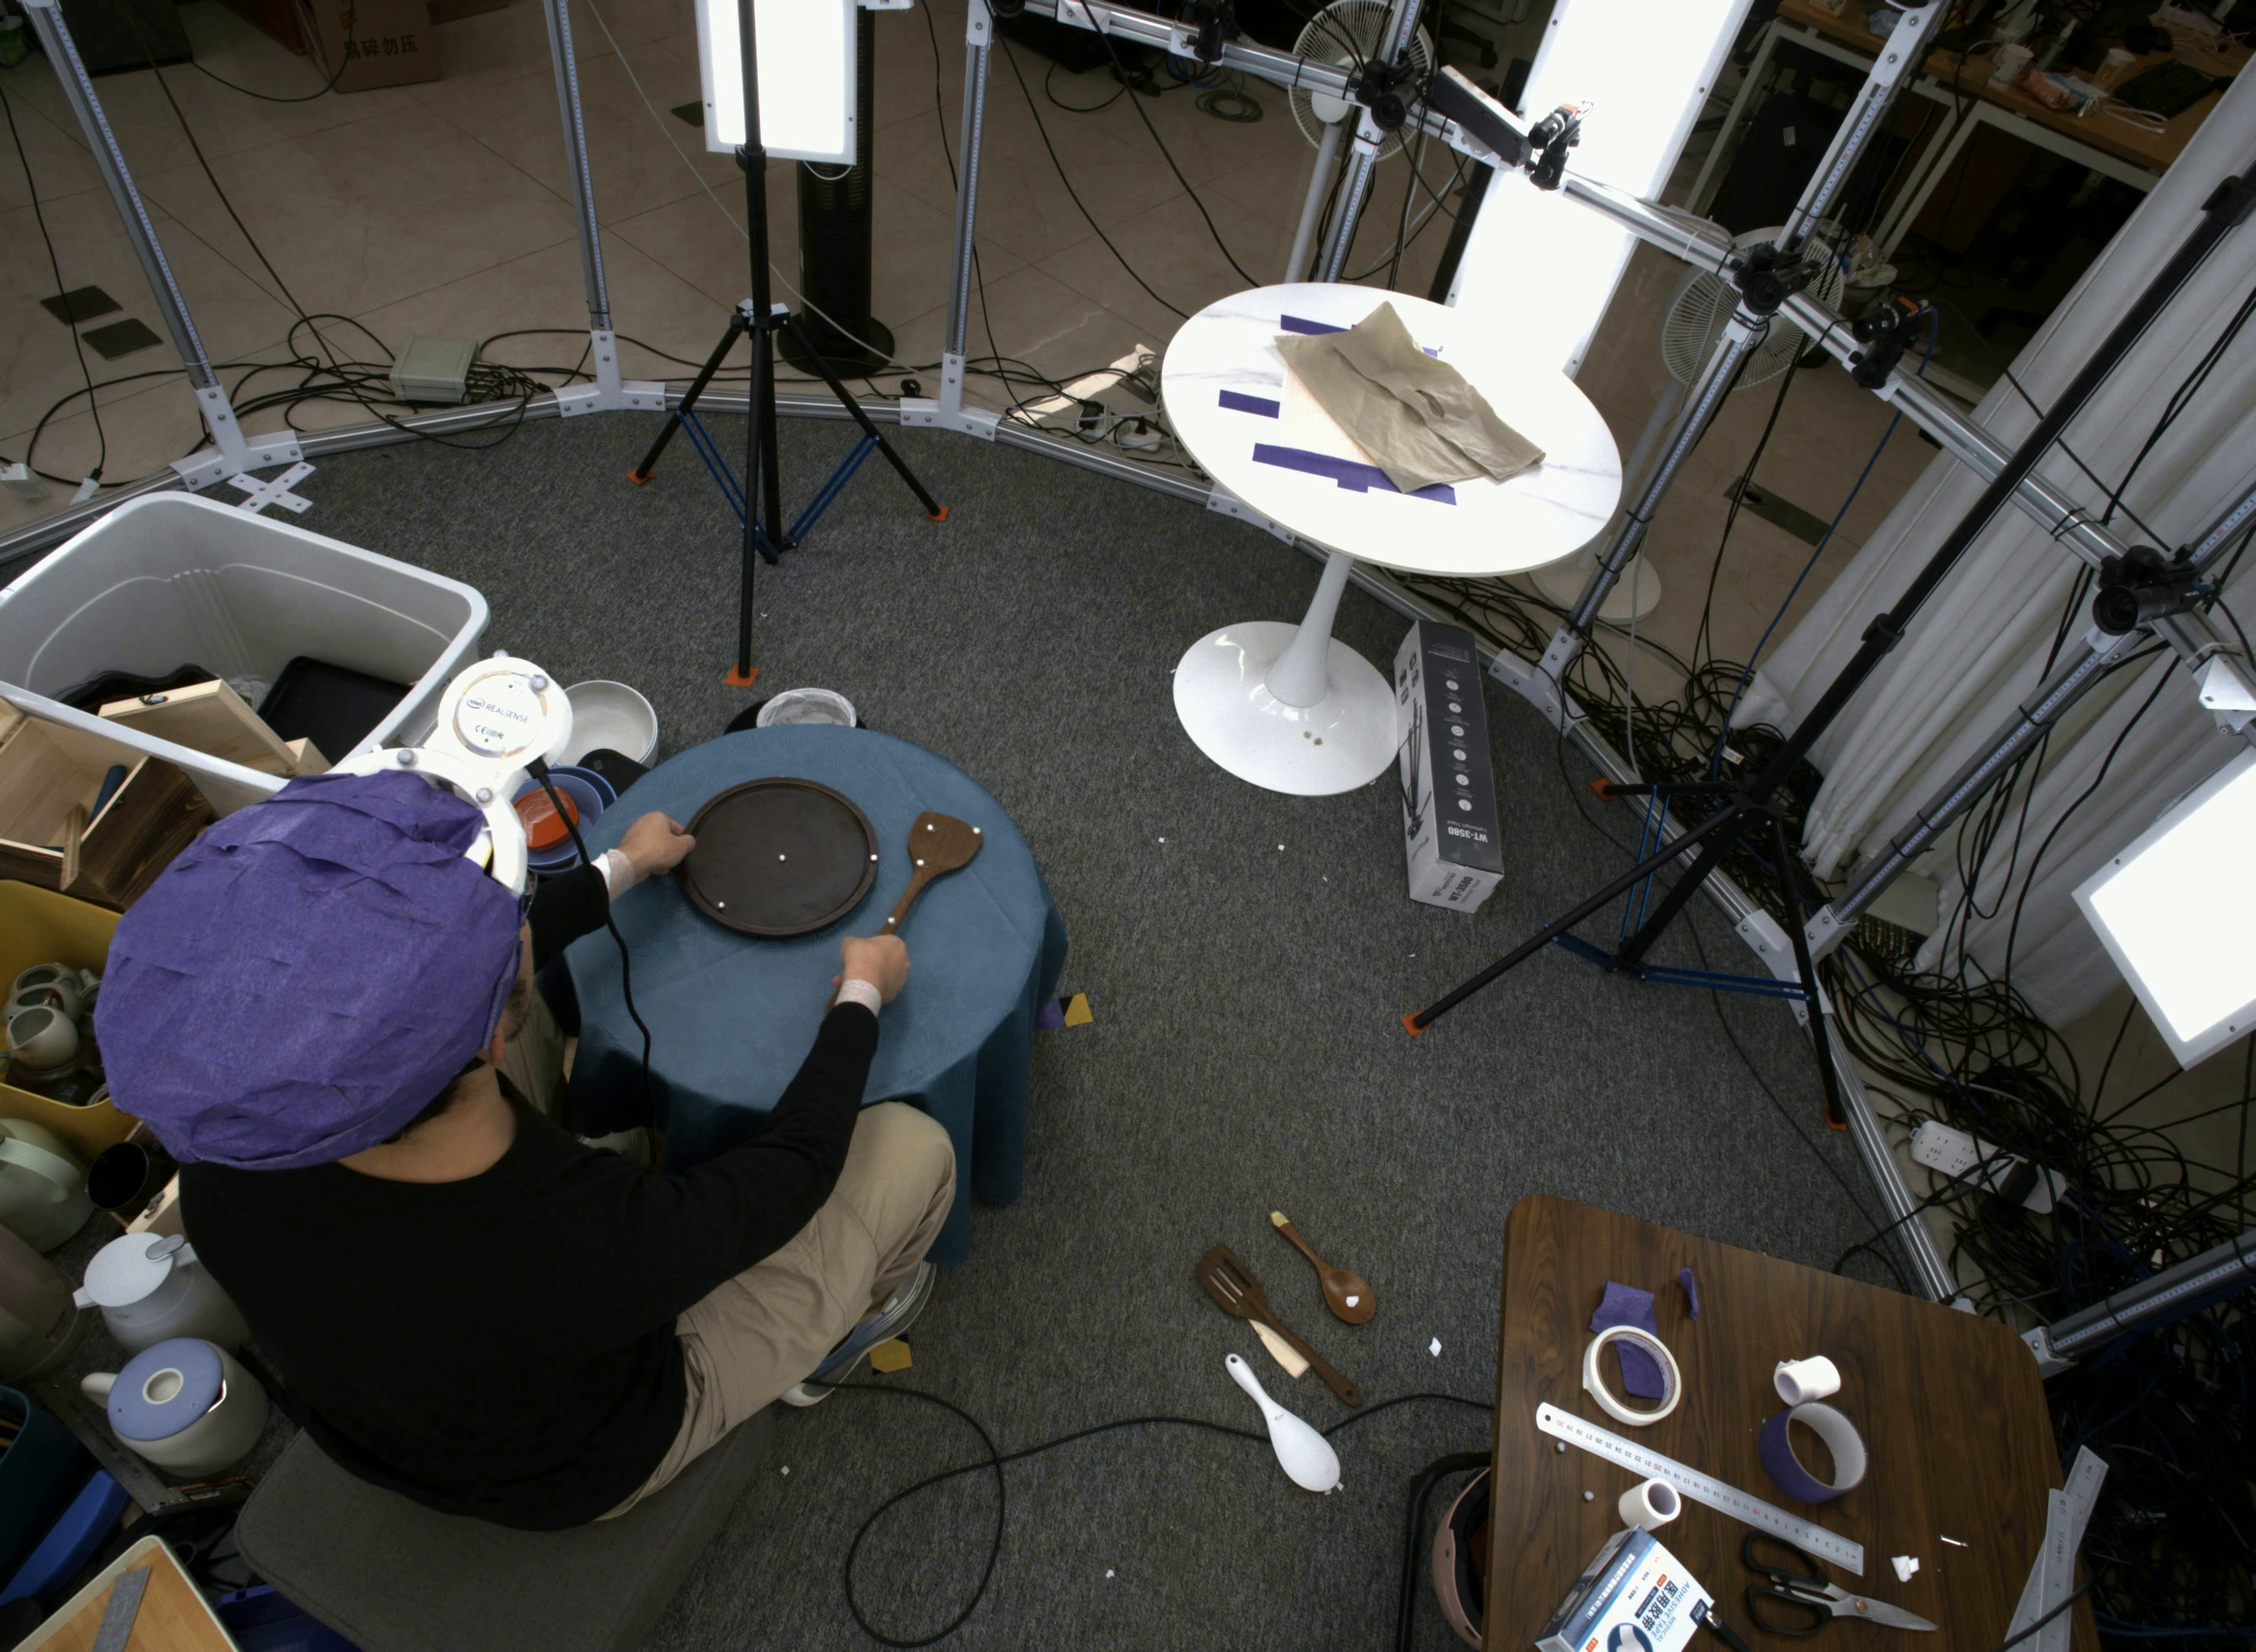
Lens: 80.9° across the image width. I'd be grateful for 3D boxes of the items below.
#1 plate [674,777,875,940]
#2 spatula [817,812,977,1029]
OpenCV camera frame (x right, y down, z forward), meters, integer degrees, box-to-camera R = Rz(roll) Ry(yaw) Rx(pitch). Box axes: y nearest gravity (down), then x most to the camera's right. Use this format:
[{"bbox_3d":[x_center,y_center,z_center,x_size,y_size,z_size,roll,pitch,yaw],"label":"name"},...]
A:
[{"bbox_3d":[-0.454,0.039,1.666,0.254,0.029,0.250,9,52,-10],"label":"plate"},{"bbox_3d":[-0.297,0.109,1.635,0.095,0.016,0.382,22,43,3],"label":"spatula"}]
